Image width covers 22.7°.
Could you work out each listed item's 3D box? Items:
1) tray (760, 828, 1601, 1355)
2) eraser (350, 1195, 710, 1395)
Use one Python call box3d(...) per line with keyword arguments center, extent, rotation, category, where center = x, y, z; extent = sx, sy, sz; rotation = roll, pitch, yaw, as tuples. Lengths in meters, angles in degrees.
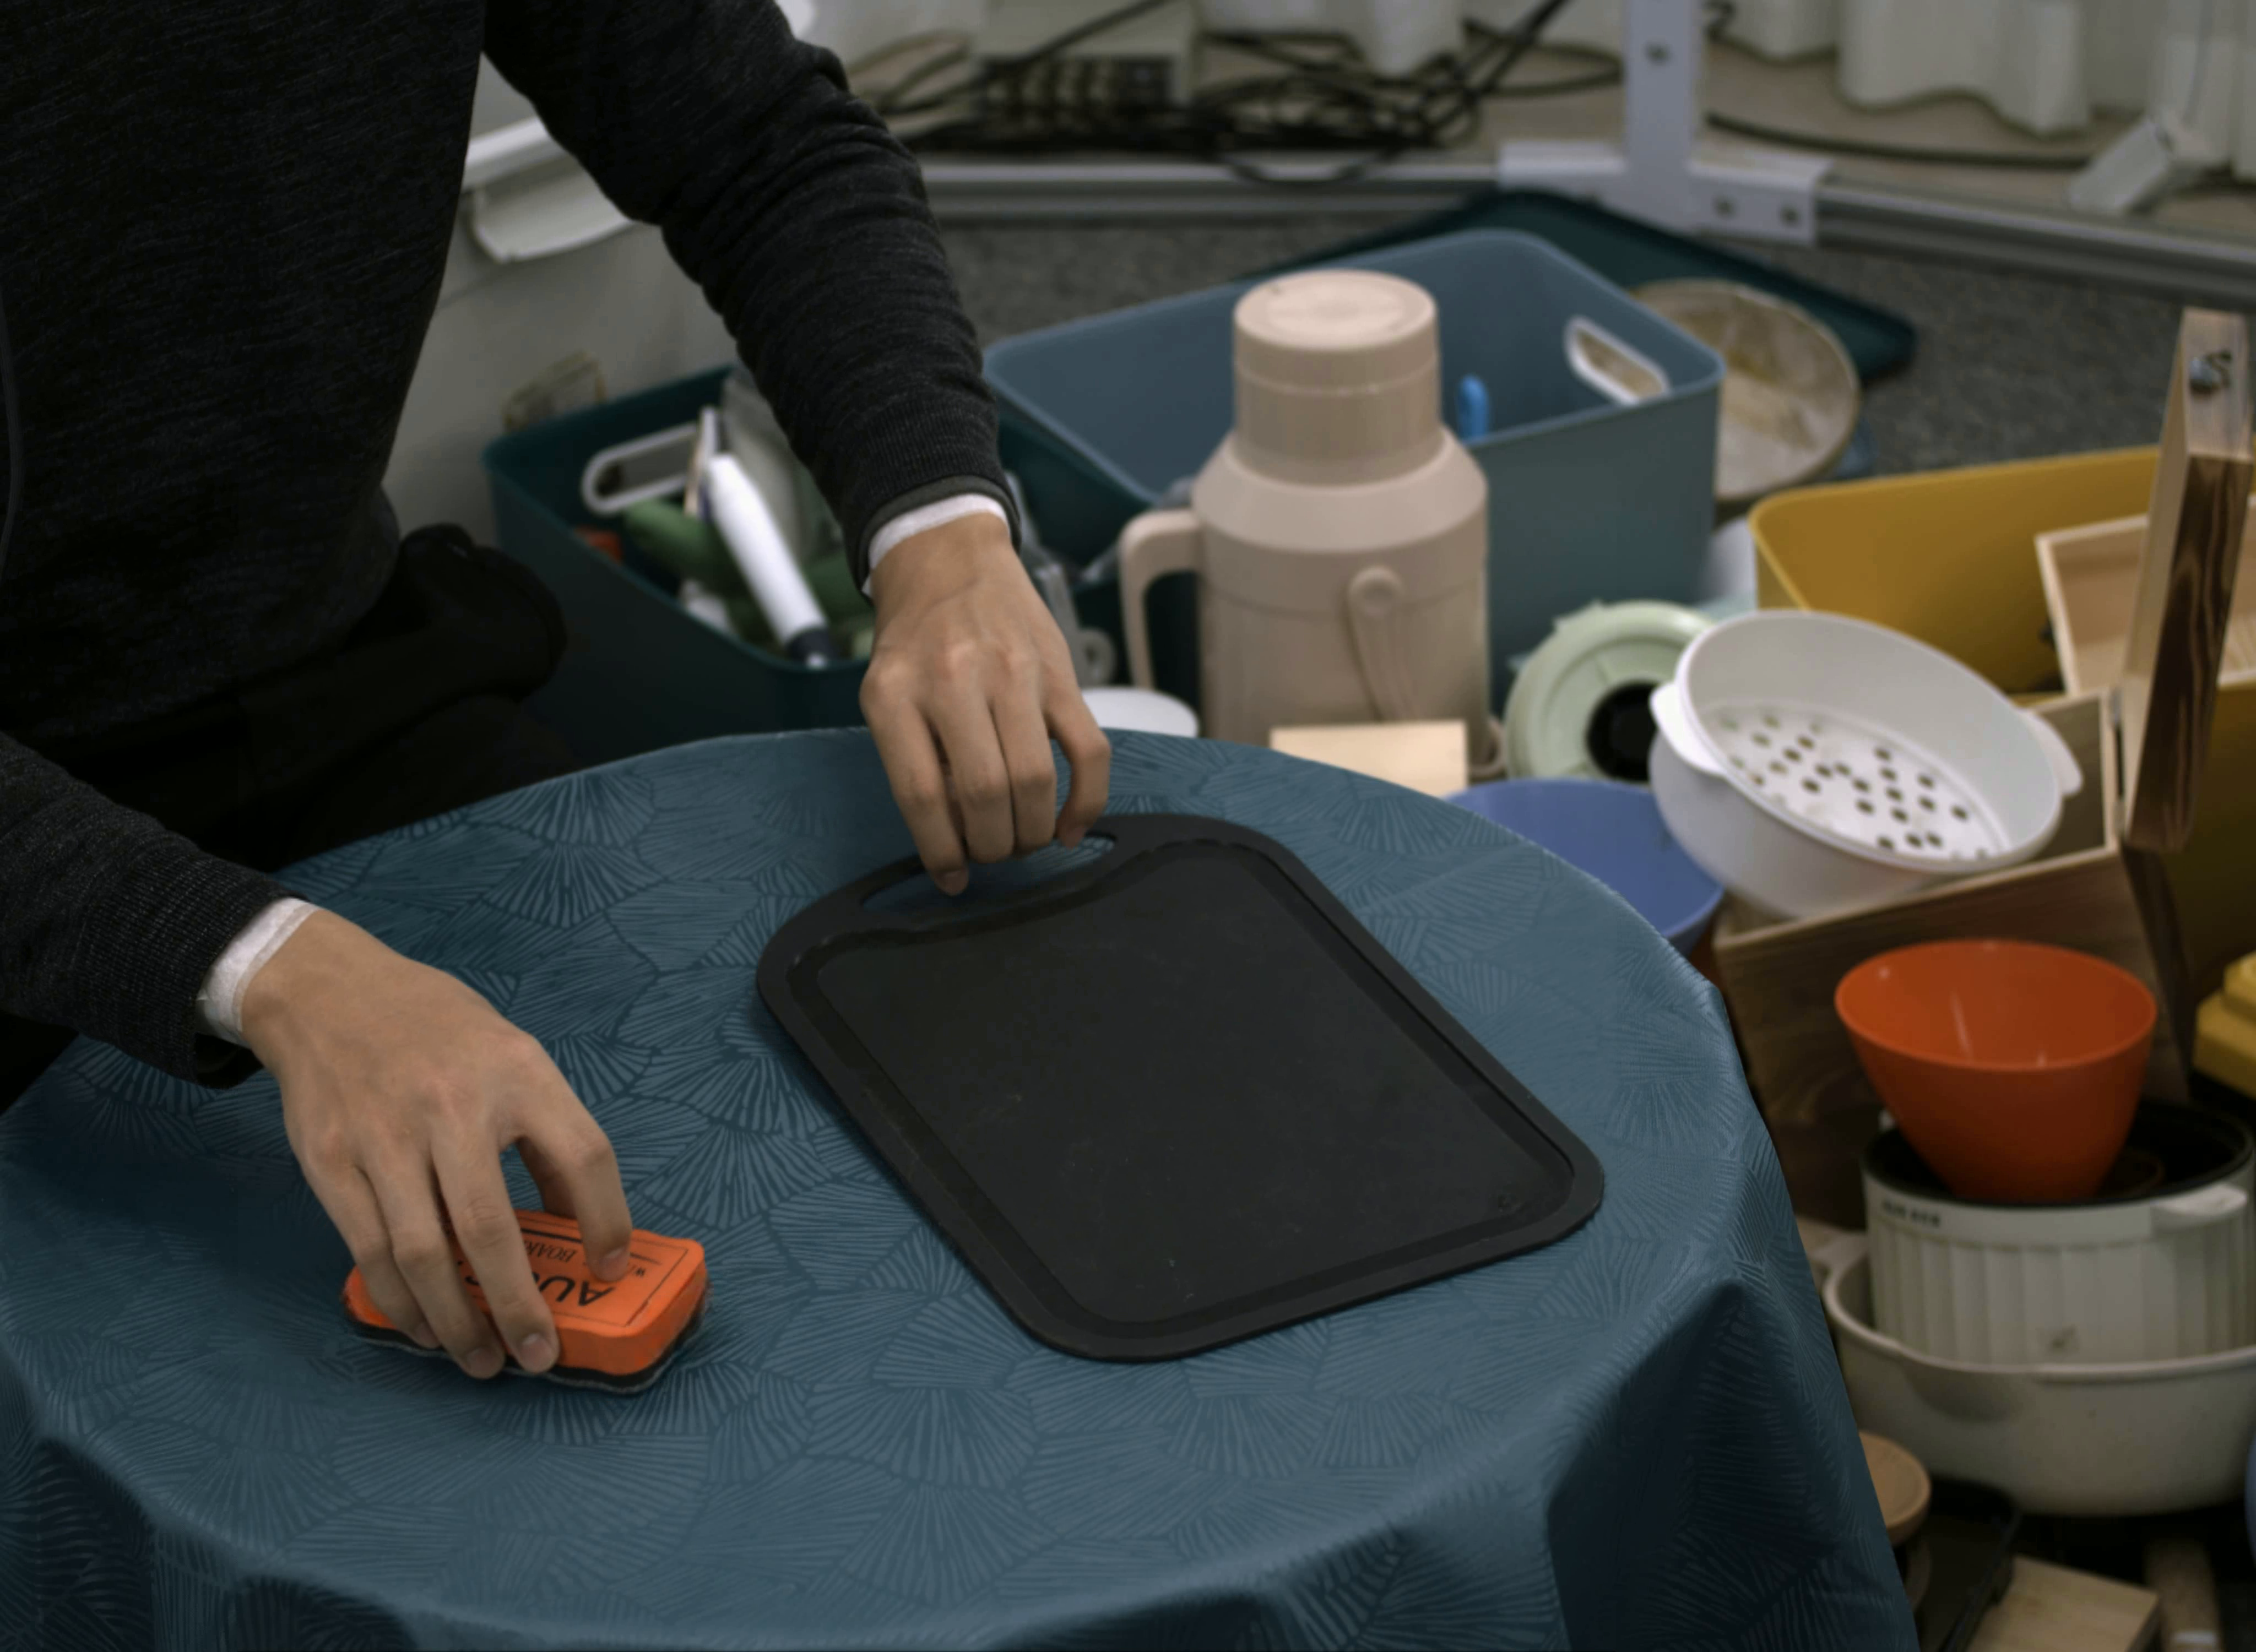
box3d(center=(0.008, 0.081, 1.923), extent=(0.212, 0.009, 0.328), rotation=(-14, 31, -21), category="tray")
box3d(center=(-0.191, 0.150, 1.795), extent=(0.107, 0.022, 0.060), rotation=(10, 30, 23), category="eraser")
